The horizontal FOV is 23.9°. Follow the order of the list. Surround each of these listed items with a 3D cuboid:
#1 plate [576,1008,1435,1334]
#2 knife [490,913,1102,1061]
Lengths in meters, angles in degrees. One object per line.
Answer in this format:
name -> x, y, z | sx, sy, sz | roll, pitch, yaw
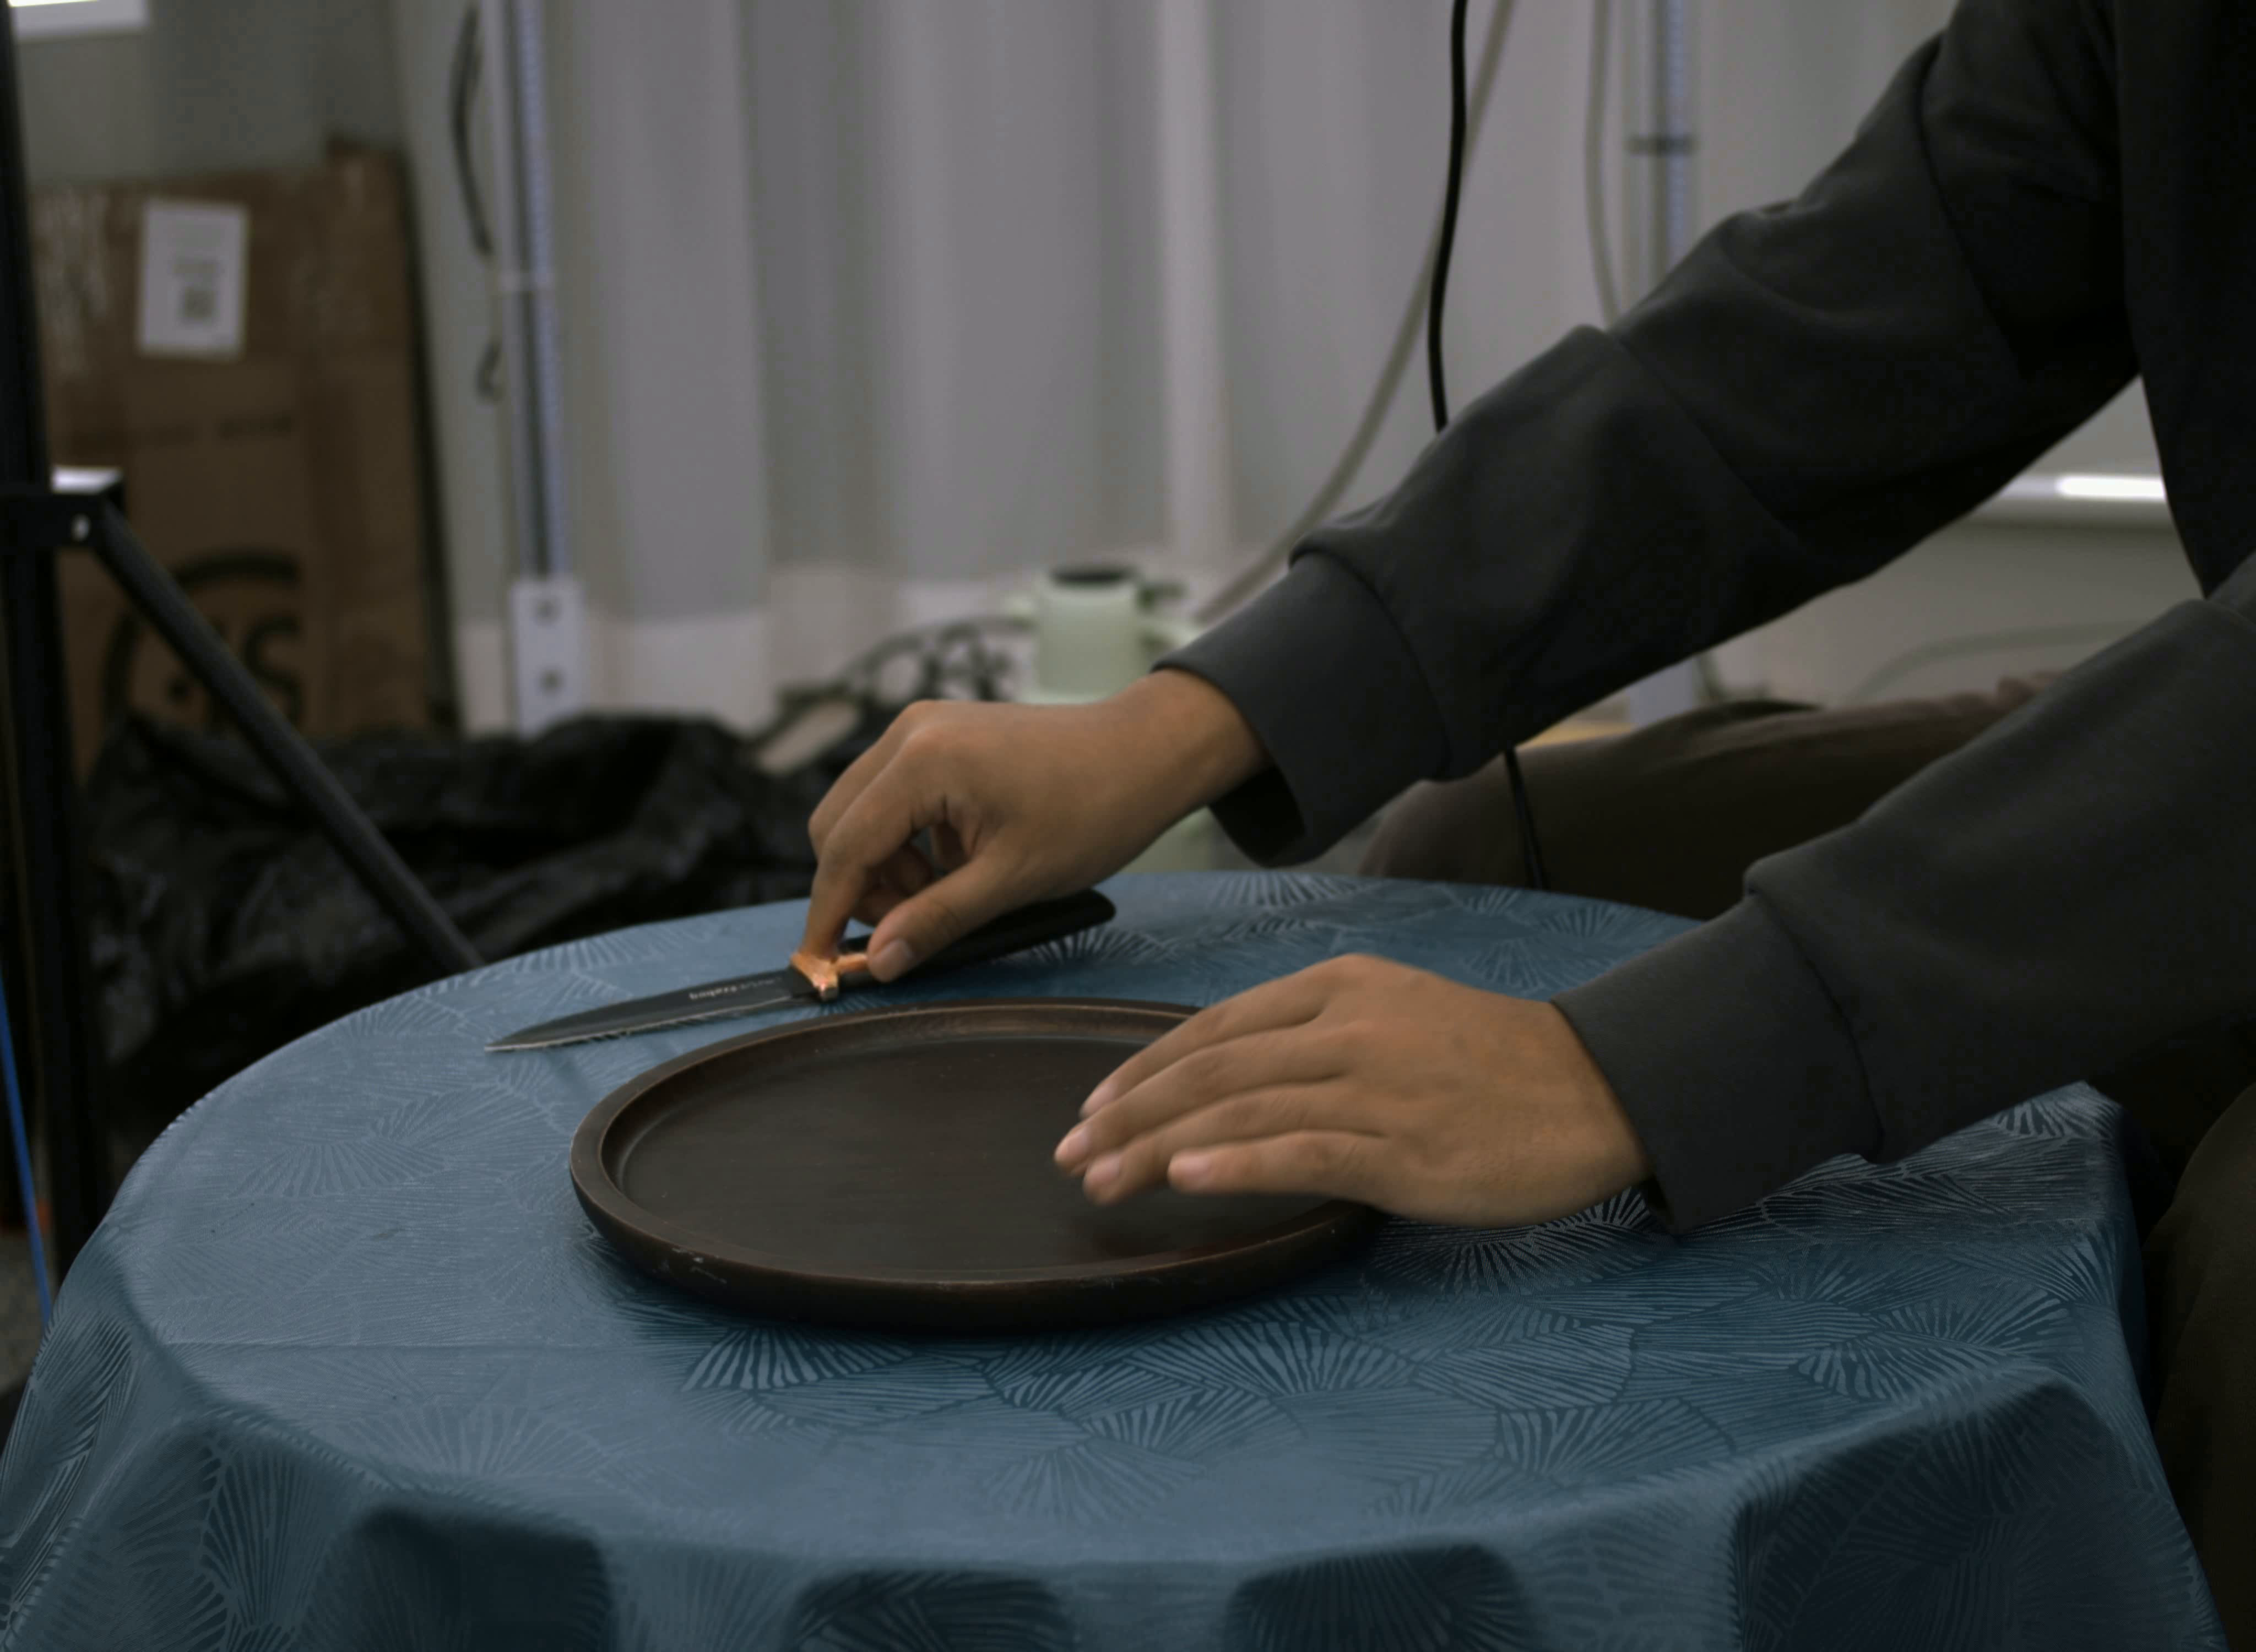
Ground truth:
plate -> -0.035, 0.098, 1.555 | 0.253, 0.029, 0.256 | -2, 14, -1
knife -> -0.106, 0.053, 1.747 | 0.221, 0.017, 0.027 | -10, 25, -24
